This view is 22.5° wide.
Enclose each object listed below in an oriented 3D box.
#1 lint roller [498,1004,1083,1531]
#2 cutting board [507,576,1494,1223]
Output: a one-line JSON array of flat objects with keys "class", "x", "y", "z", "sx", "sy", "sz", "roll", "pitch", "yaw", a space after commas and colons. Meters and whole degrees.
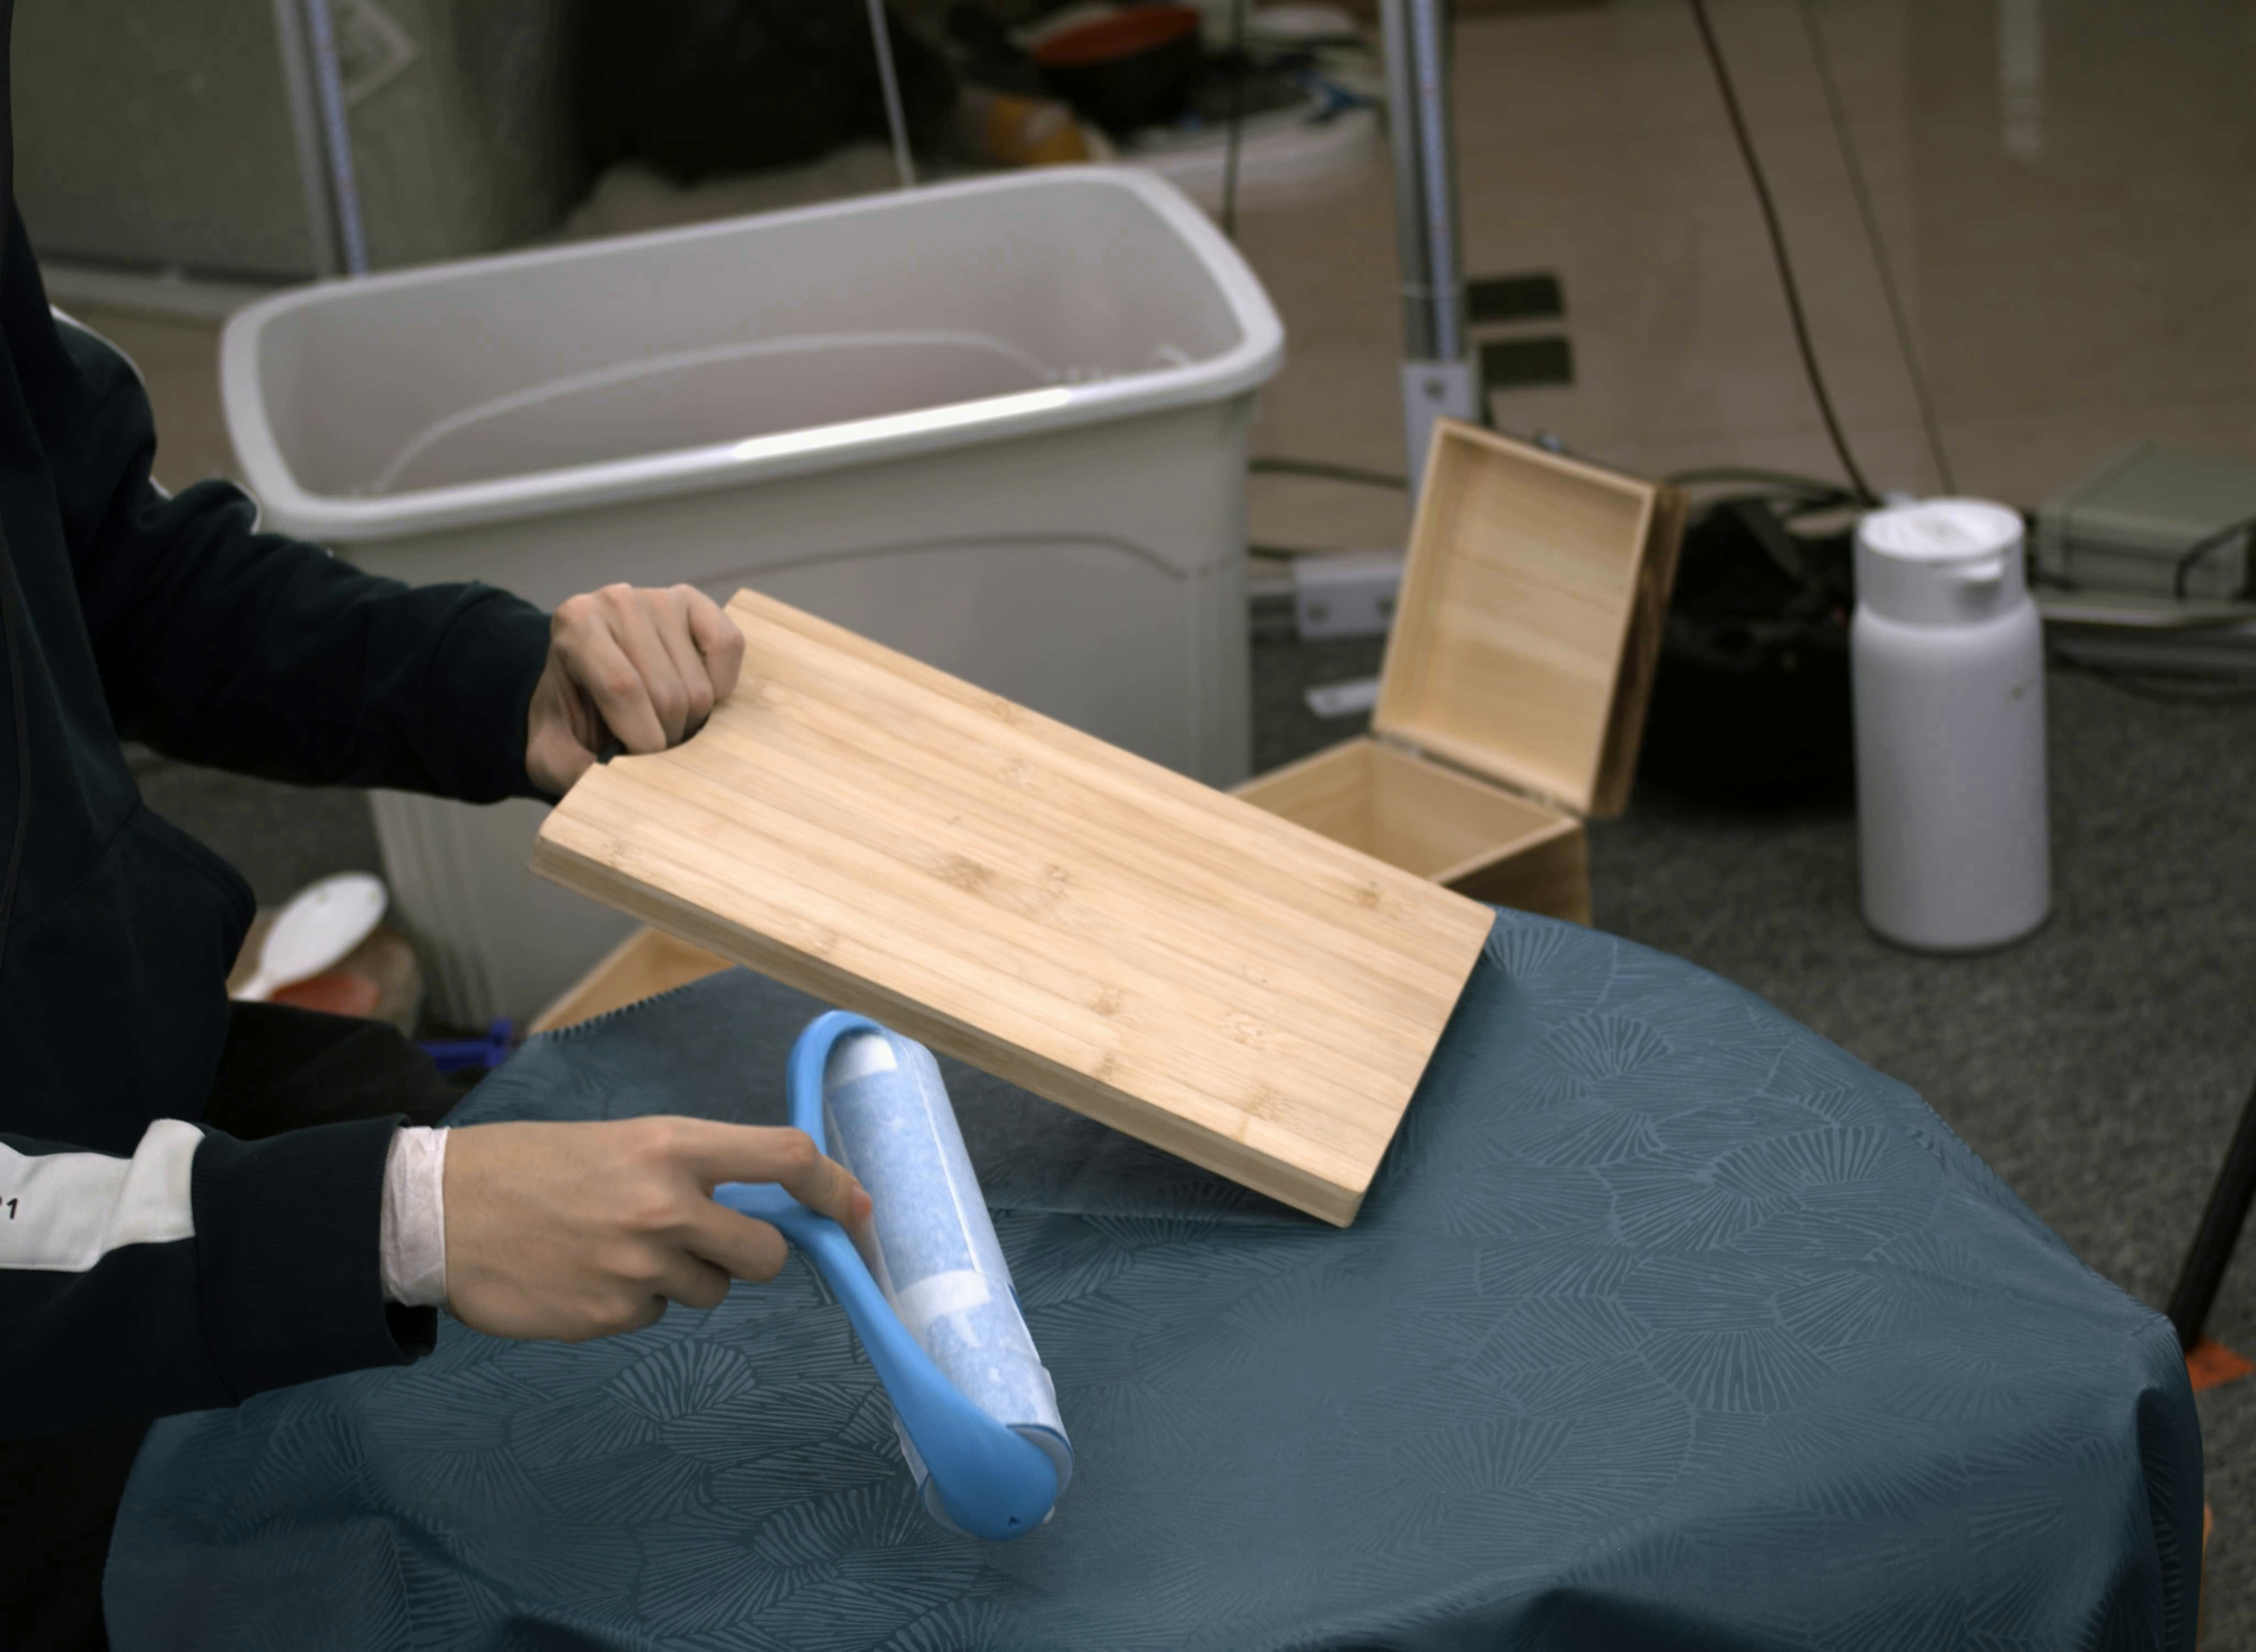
[{"class": "lint roller", "x": -0.120, "y": 0.147, "z": 1.922, "sx": 0.180, "sy": 0.069, "sz": 0.225, "roll": 5, "pitch": 41, "yaw": -29}, {"class": "cutting board", "x": -0.043, "y": 0.024, "z": 2.212, "sx": 0.348, "sy": 0.024, "sz": 0.247, "roll": 23, "pitch": 30, "yaw": 4}]
